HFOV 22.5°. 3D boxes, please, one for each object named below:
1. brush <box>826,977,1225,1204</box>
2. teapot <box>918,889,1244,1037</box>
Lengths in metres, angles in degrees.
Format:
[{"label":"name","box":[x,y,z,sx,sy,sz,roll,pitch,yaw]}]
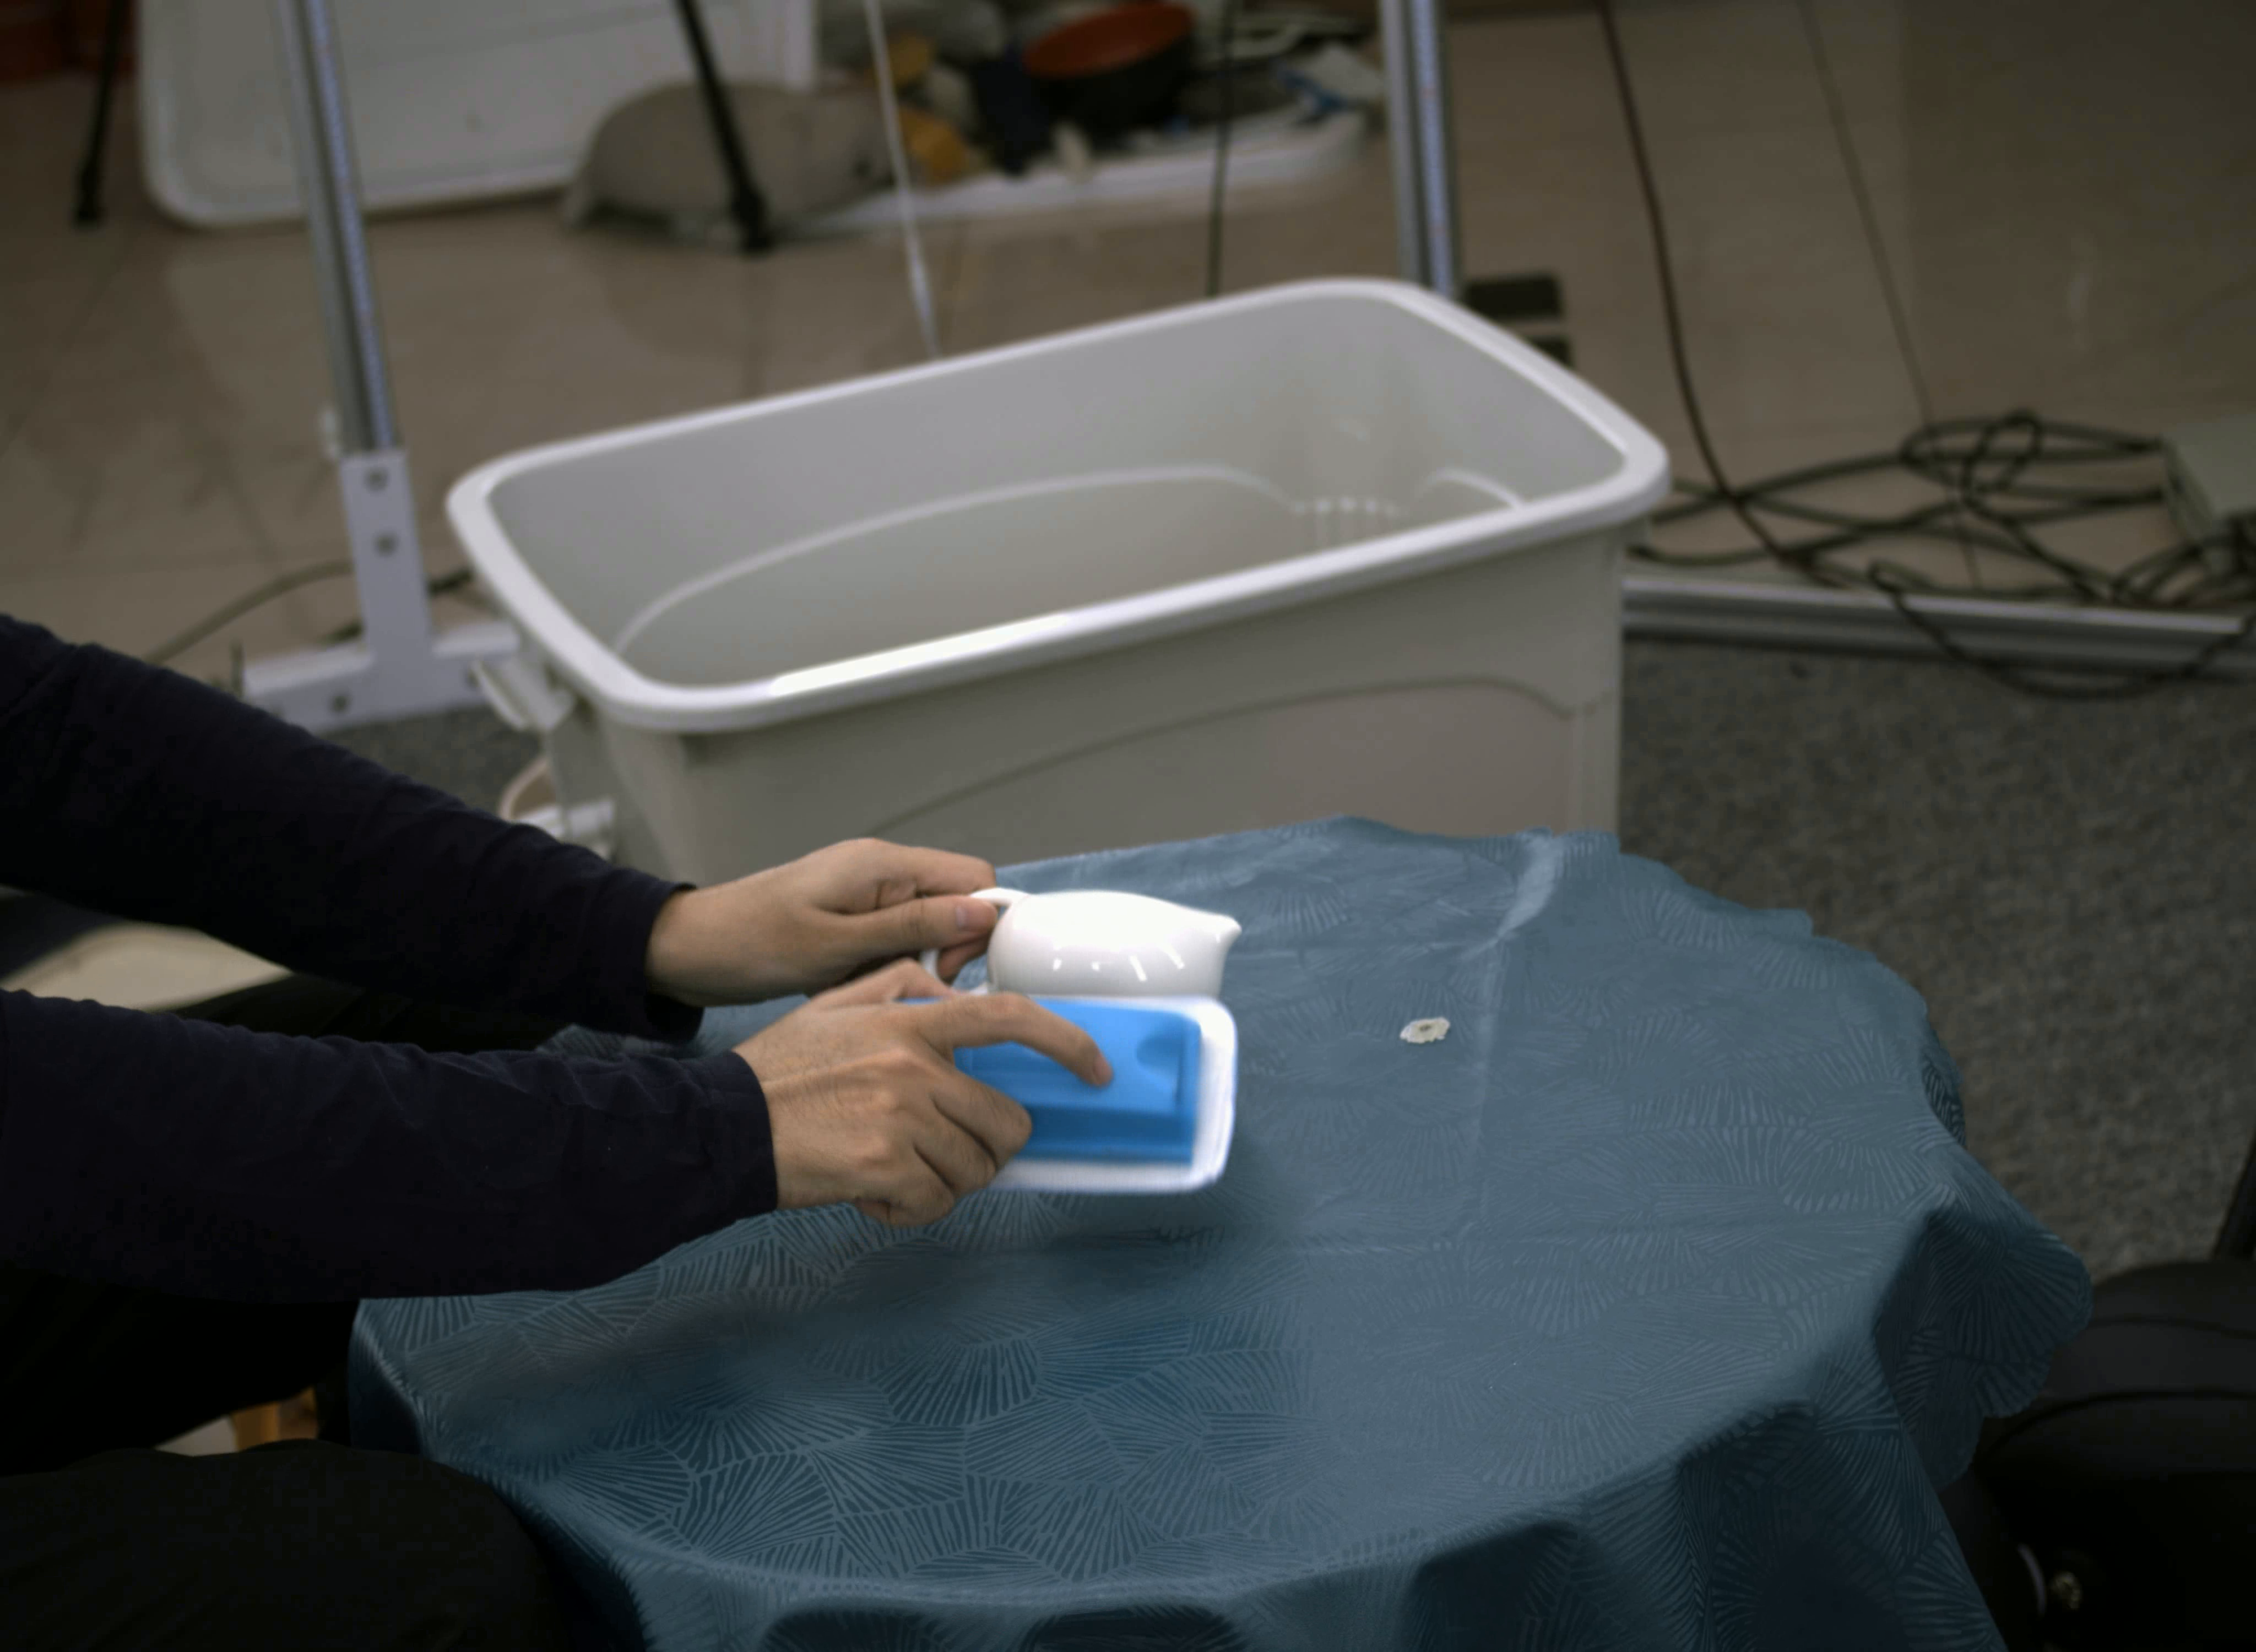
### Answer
[{"label":"brush","box":[-0.038,0.093,2.085,0.143,0.057,0.082,6,58,6]},{"label":"teapot","box":[-0.019,0.056,2.220,0.127,0.056,0.093,7,-4,6]}]
